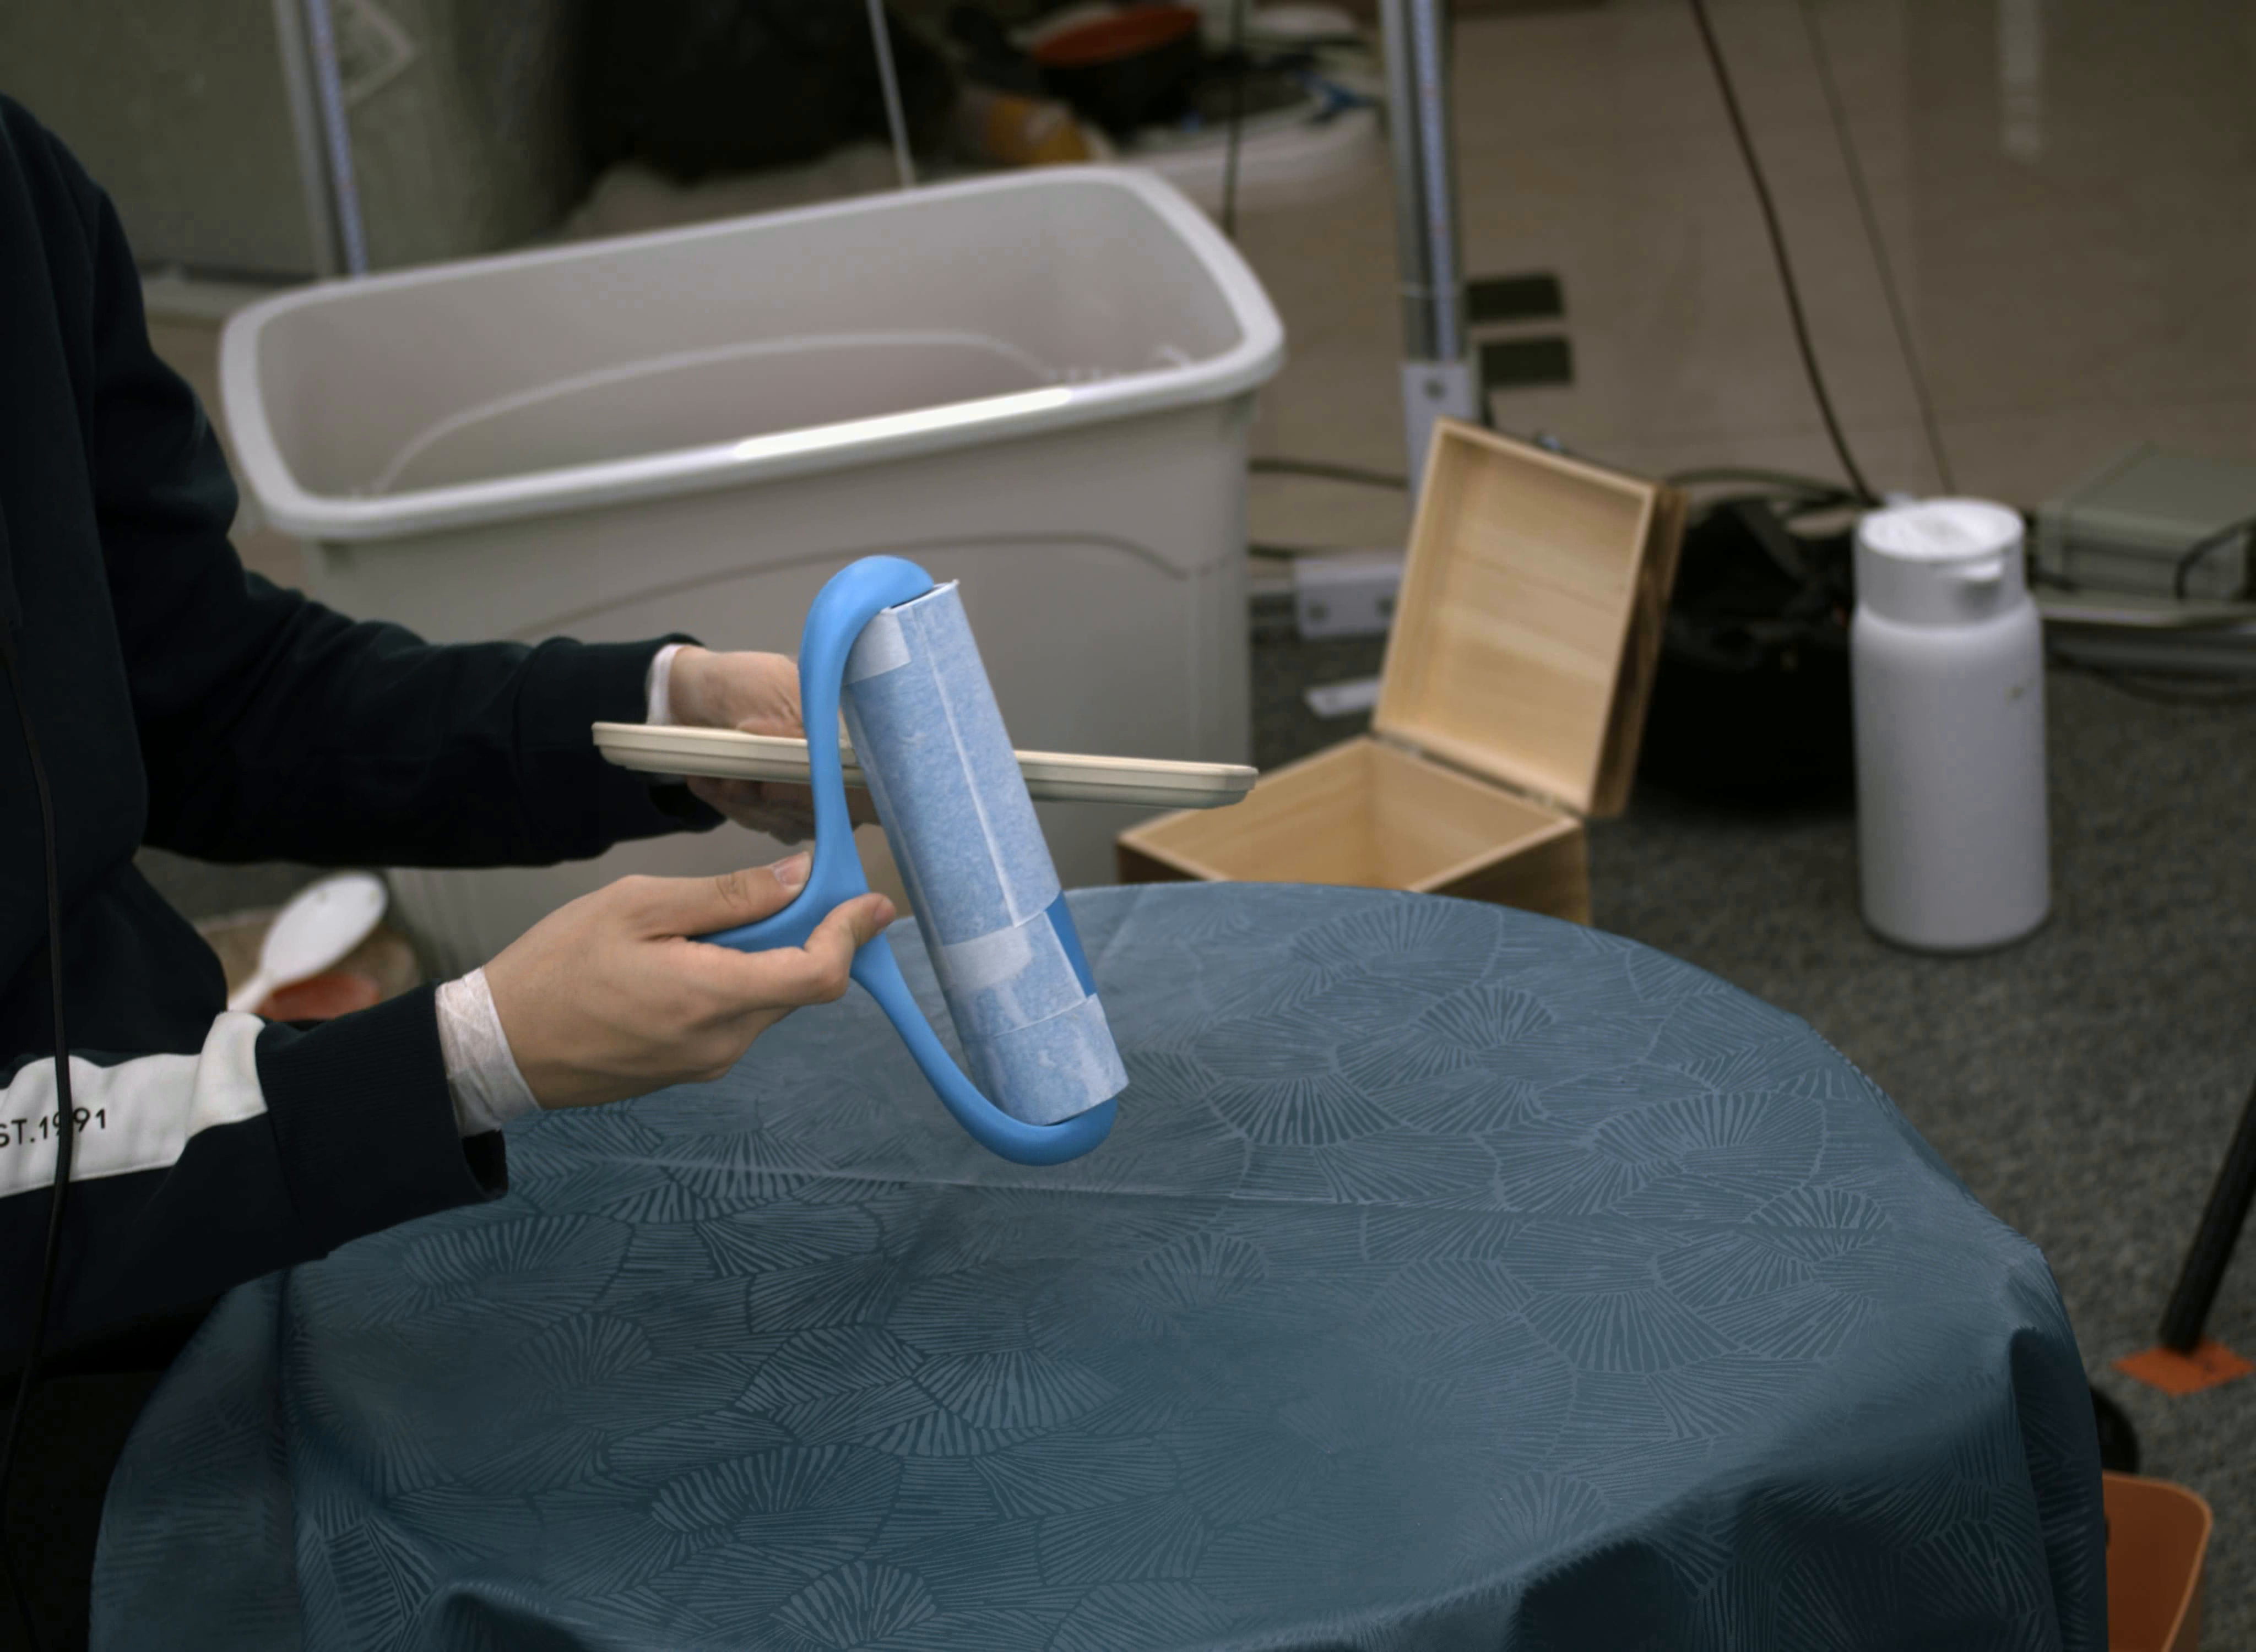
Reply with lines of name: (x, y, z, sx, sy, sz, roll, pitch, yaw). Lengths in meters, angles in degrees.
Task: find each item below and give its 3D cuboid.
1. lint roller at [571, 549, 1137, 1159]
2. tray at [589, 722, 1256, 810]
lint roller: (-0.108, 0.034, 2.008, 0.179, 0.231, 0.067, -25, 12, -12)
tray: (-0.076, -0.023, 2.139, 0.239, 0.017, 0.171, 4, 2, 7)
